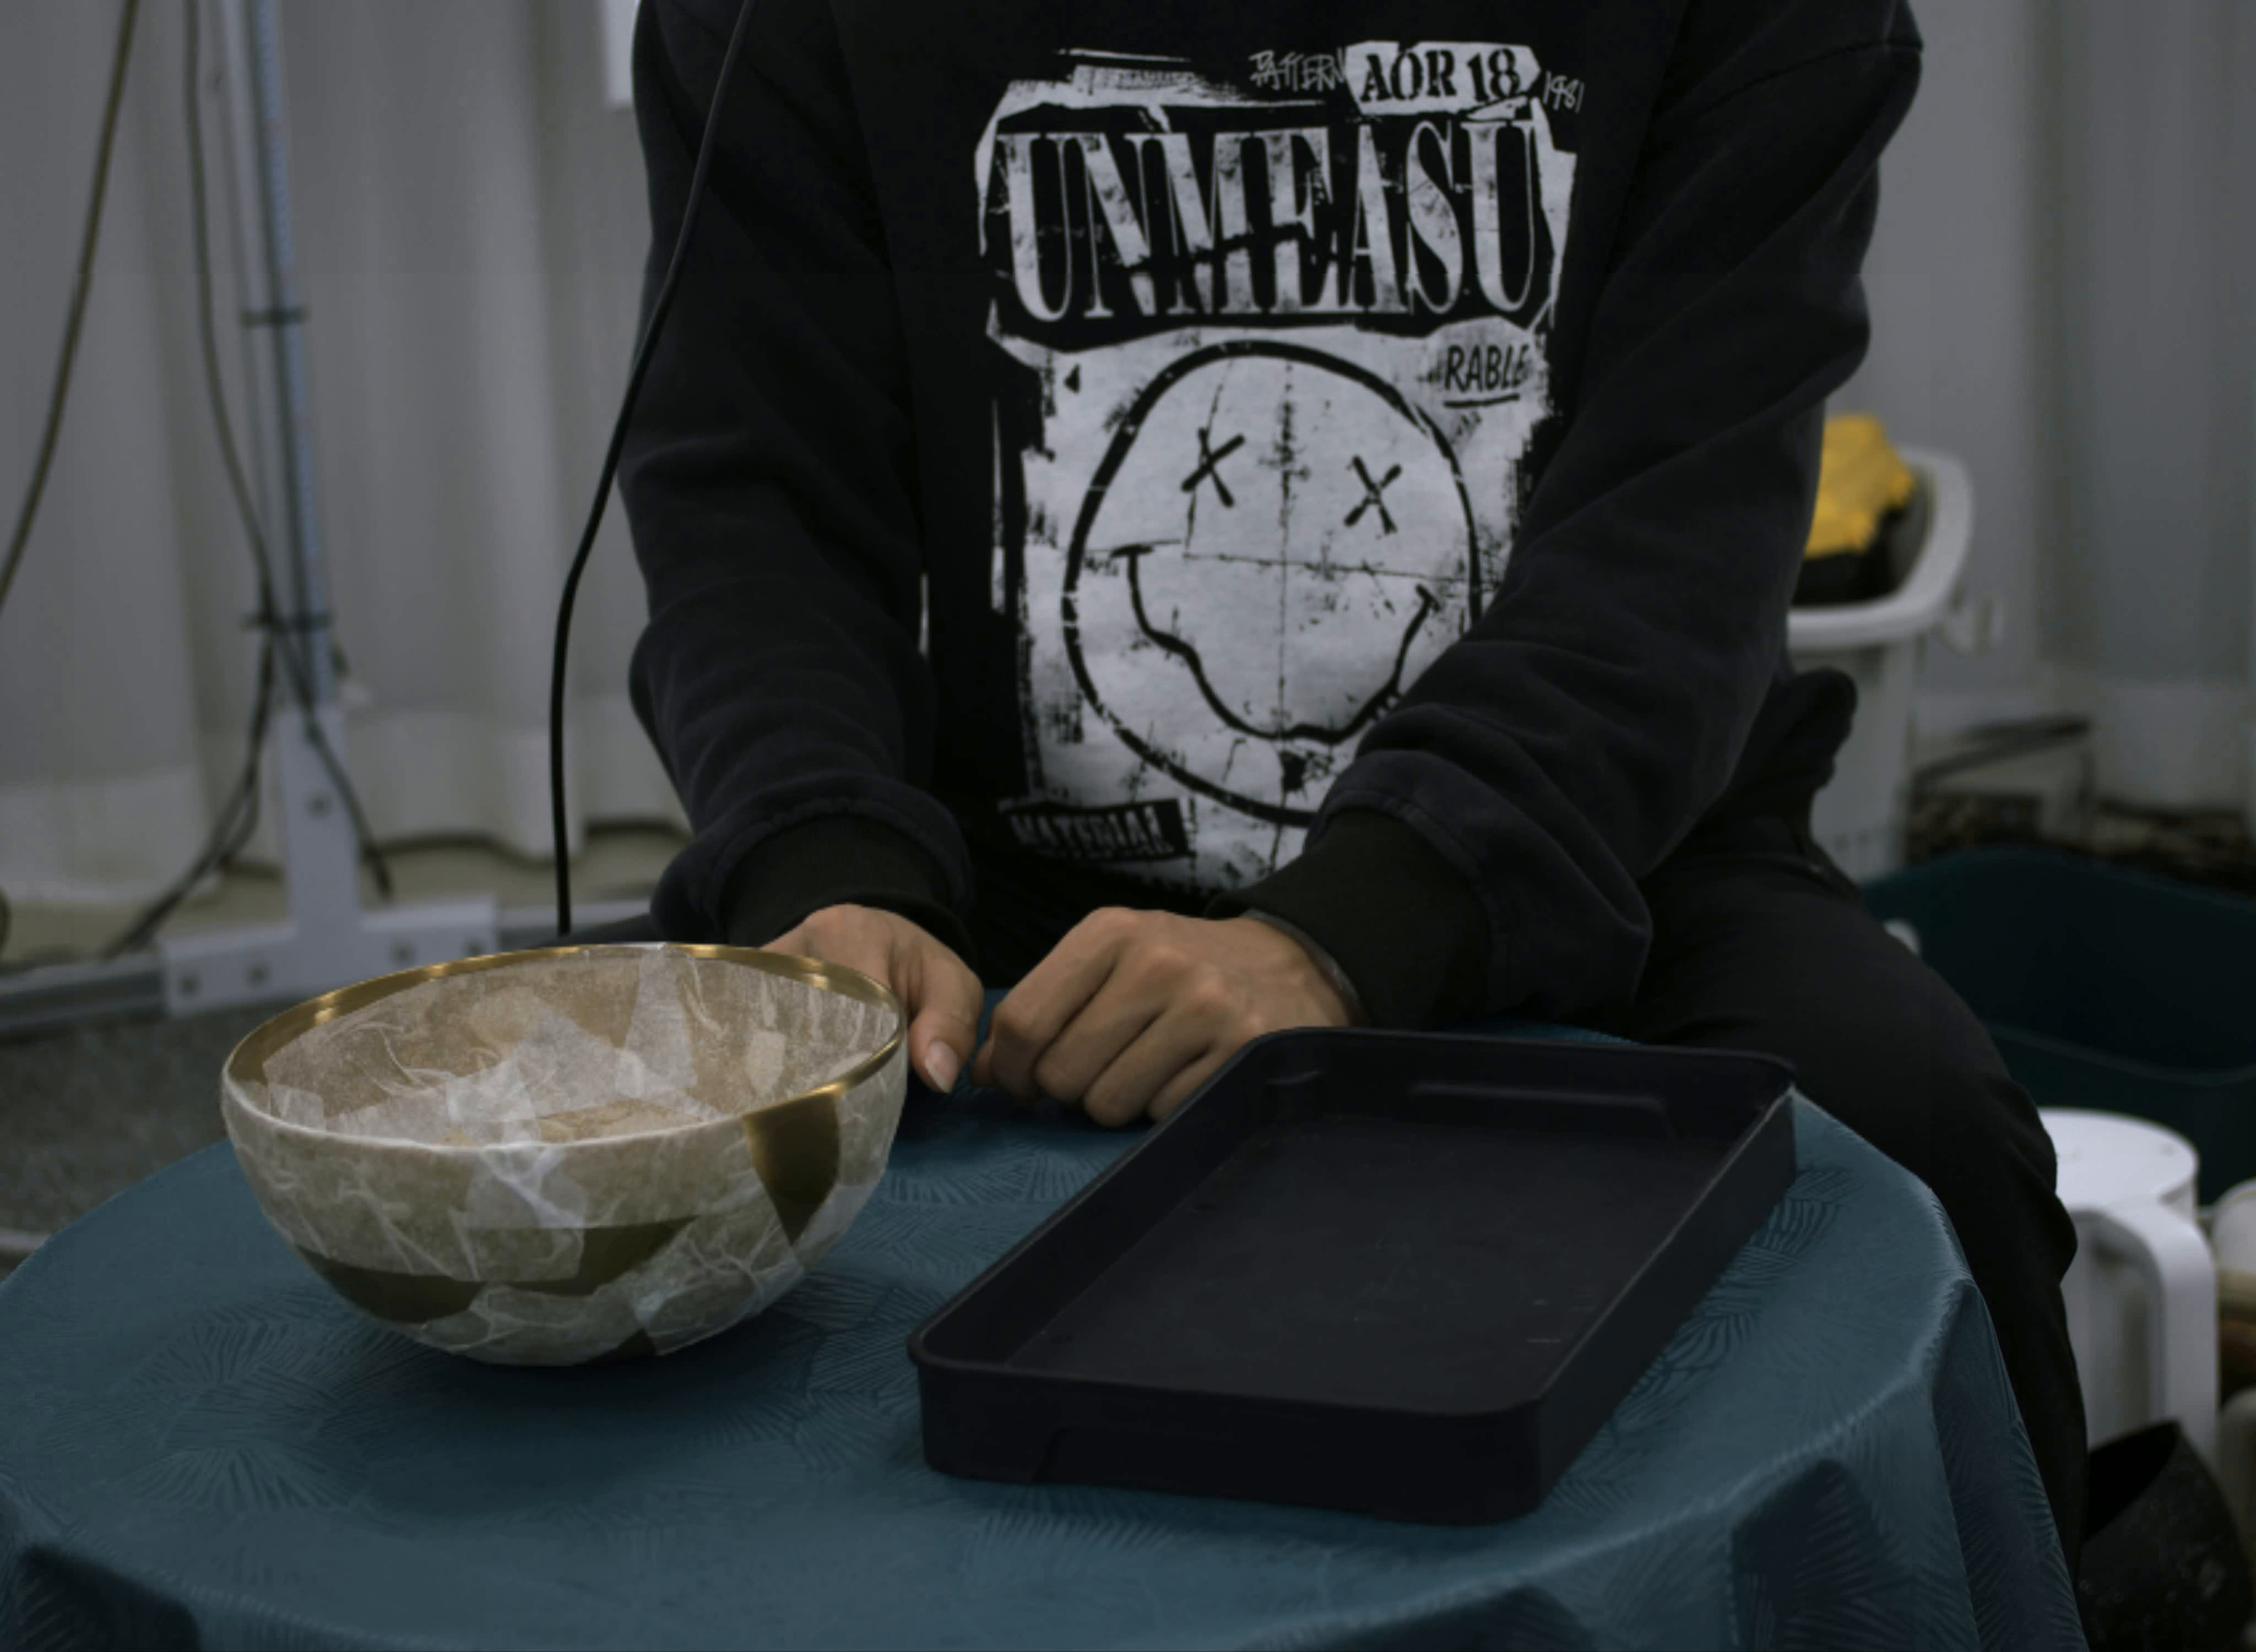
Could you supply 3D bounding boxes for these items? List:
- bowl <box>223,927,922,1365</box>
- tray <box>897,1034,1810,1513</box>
[{"bbox_3d":[-0.158,0.103,1.610,0.214,0.094,0.216,-4,15,1],"label":"bowl"},{"bbox_3d":[0.075,0.123,1.593,0.184,0.037,0.318,2,15,22],"label":"tray"}]
